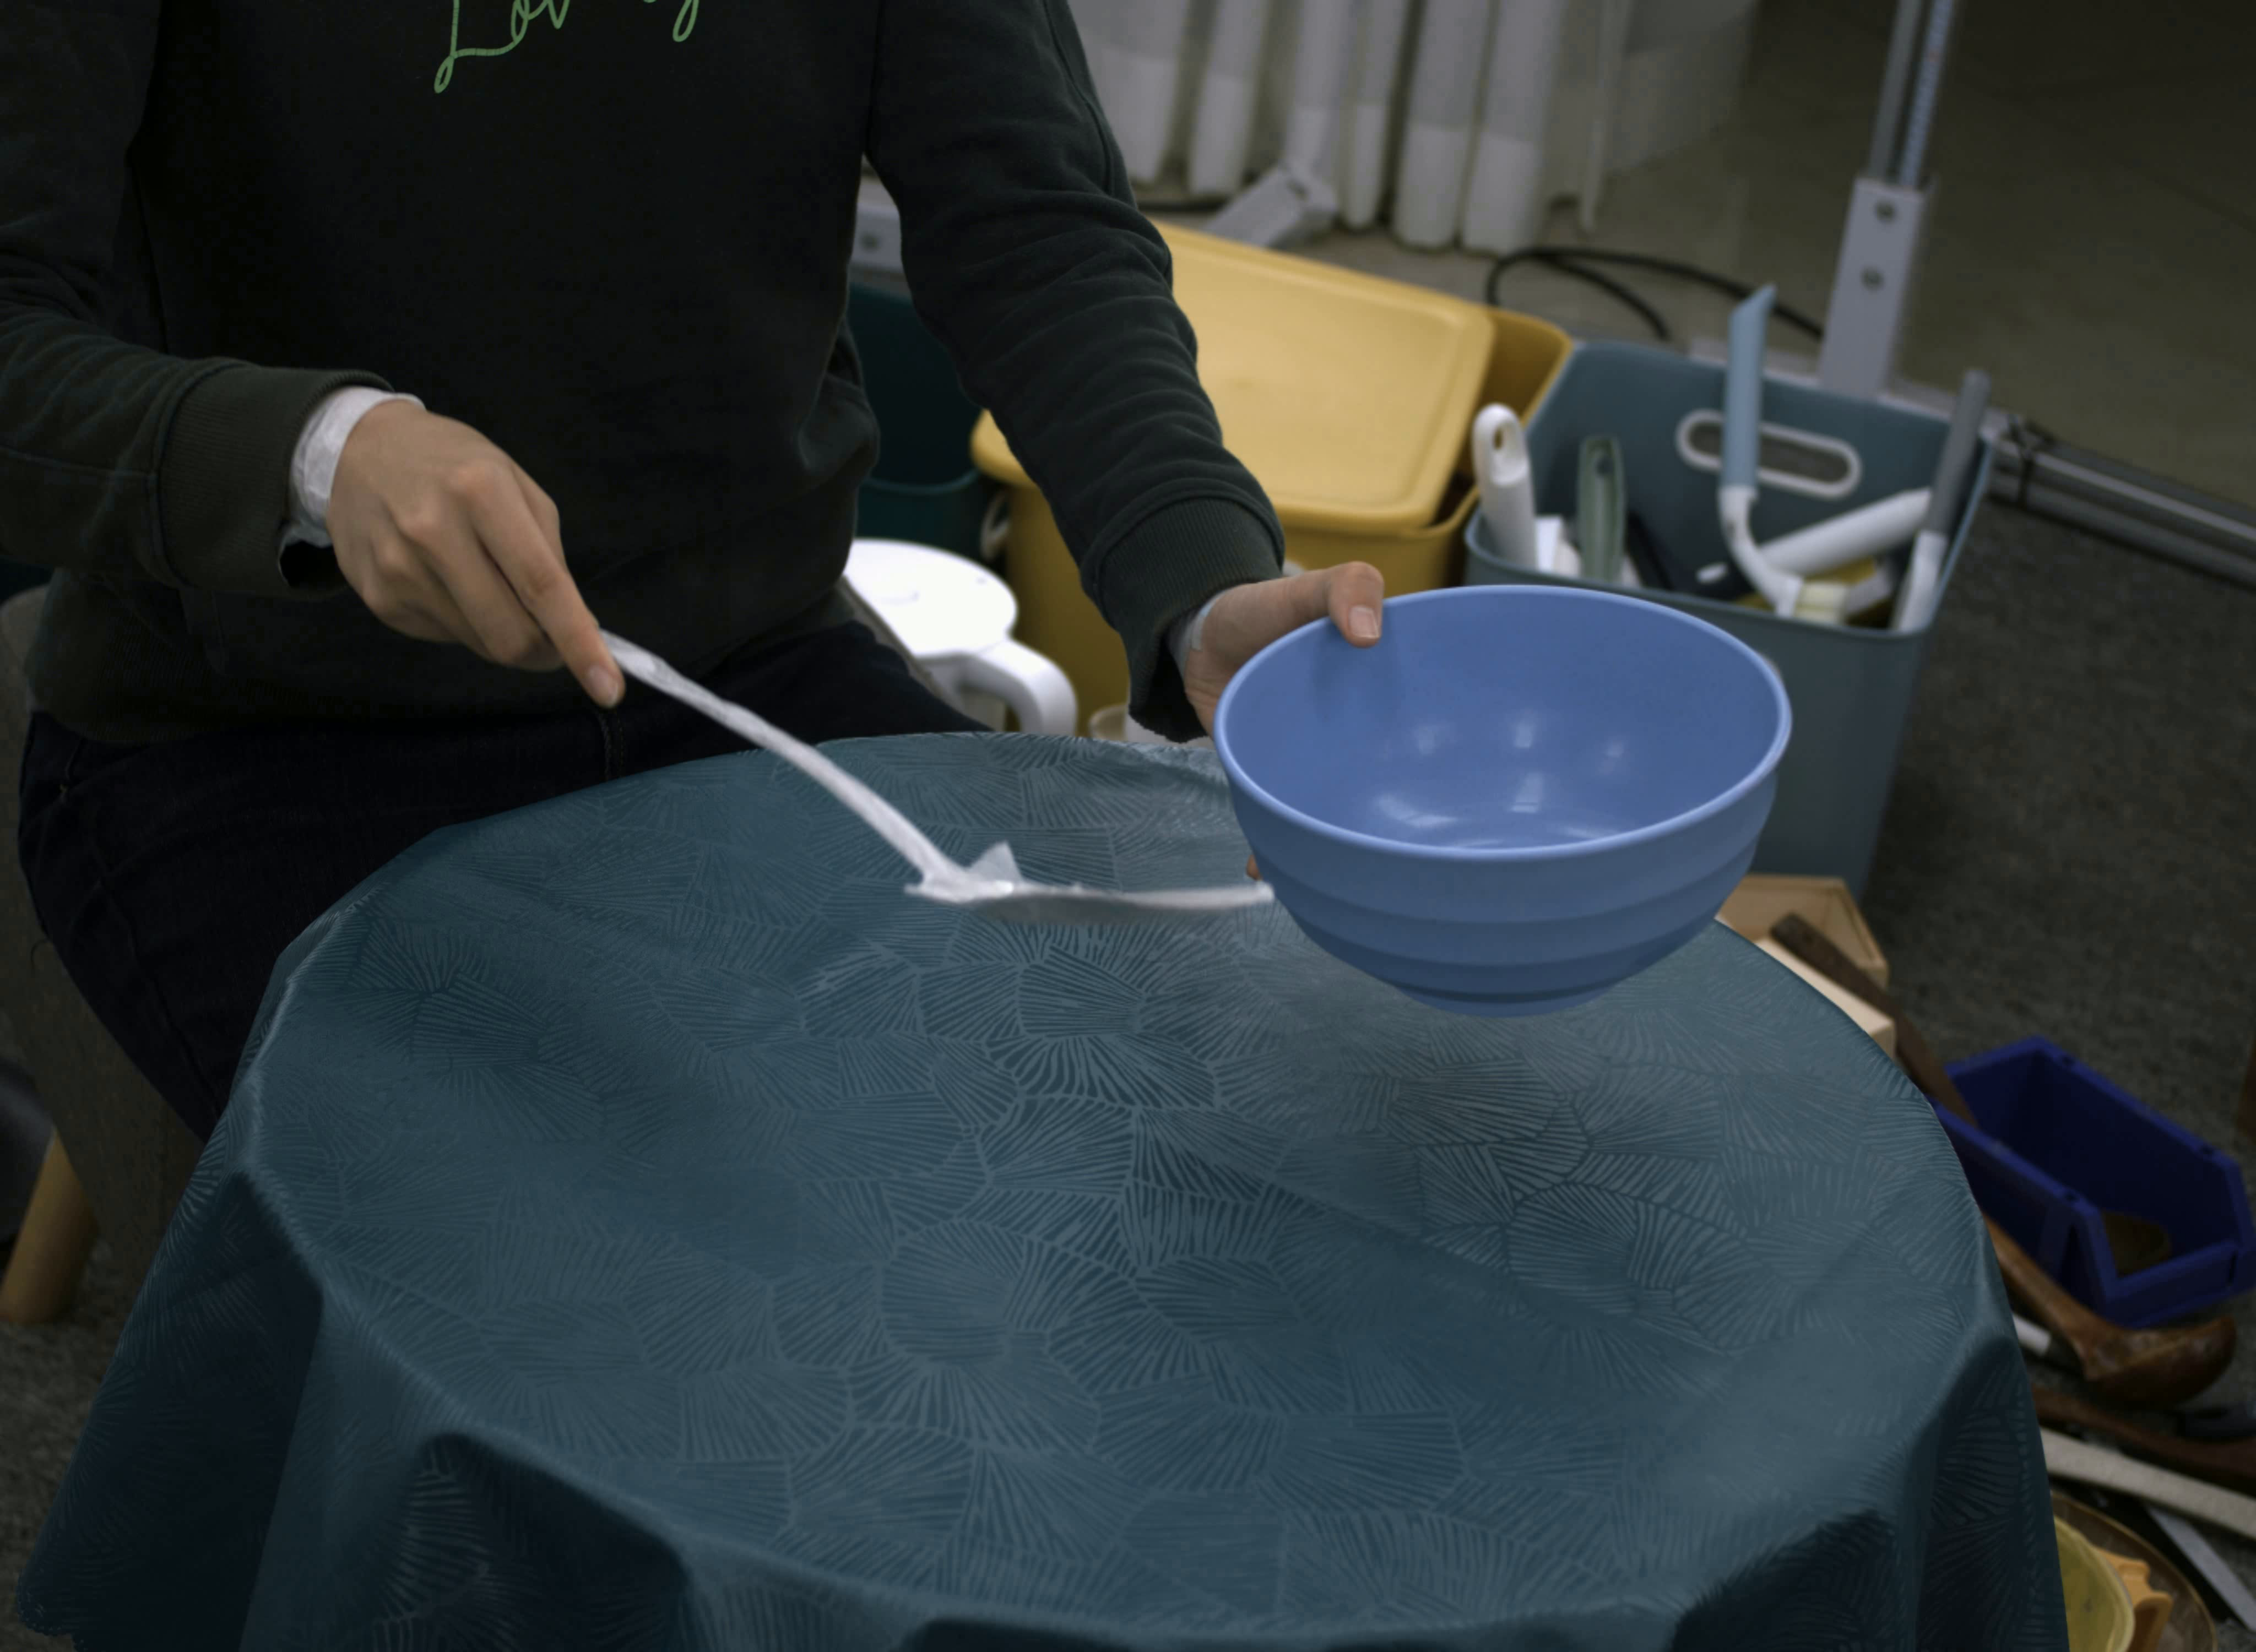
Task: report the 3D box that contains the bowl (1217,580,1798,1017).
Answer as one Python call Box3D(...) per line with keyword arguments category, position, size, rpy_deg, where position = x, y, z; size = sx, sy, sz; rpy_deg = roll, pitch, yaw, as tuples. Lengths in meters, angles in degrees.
Box3D(category="bowl", position=(0.130, 0.002, 1.823), size=(0.196, 0.095, 0.198), rpy_deg=(-2, 30, 1))

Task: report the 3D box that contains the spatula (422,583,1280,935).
Box3D(category="spatula", position=(-0.109, -0.028, 1.688), size=(0.367, 0.045, 0.098), rpy_deg=(29, 19, 36))
